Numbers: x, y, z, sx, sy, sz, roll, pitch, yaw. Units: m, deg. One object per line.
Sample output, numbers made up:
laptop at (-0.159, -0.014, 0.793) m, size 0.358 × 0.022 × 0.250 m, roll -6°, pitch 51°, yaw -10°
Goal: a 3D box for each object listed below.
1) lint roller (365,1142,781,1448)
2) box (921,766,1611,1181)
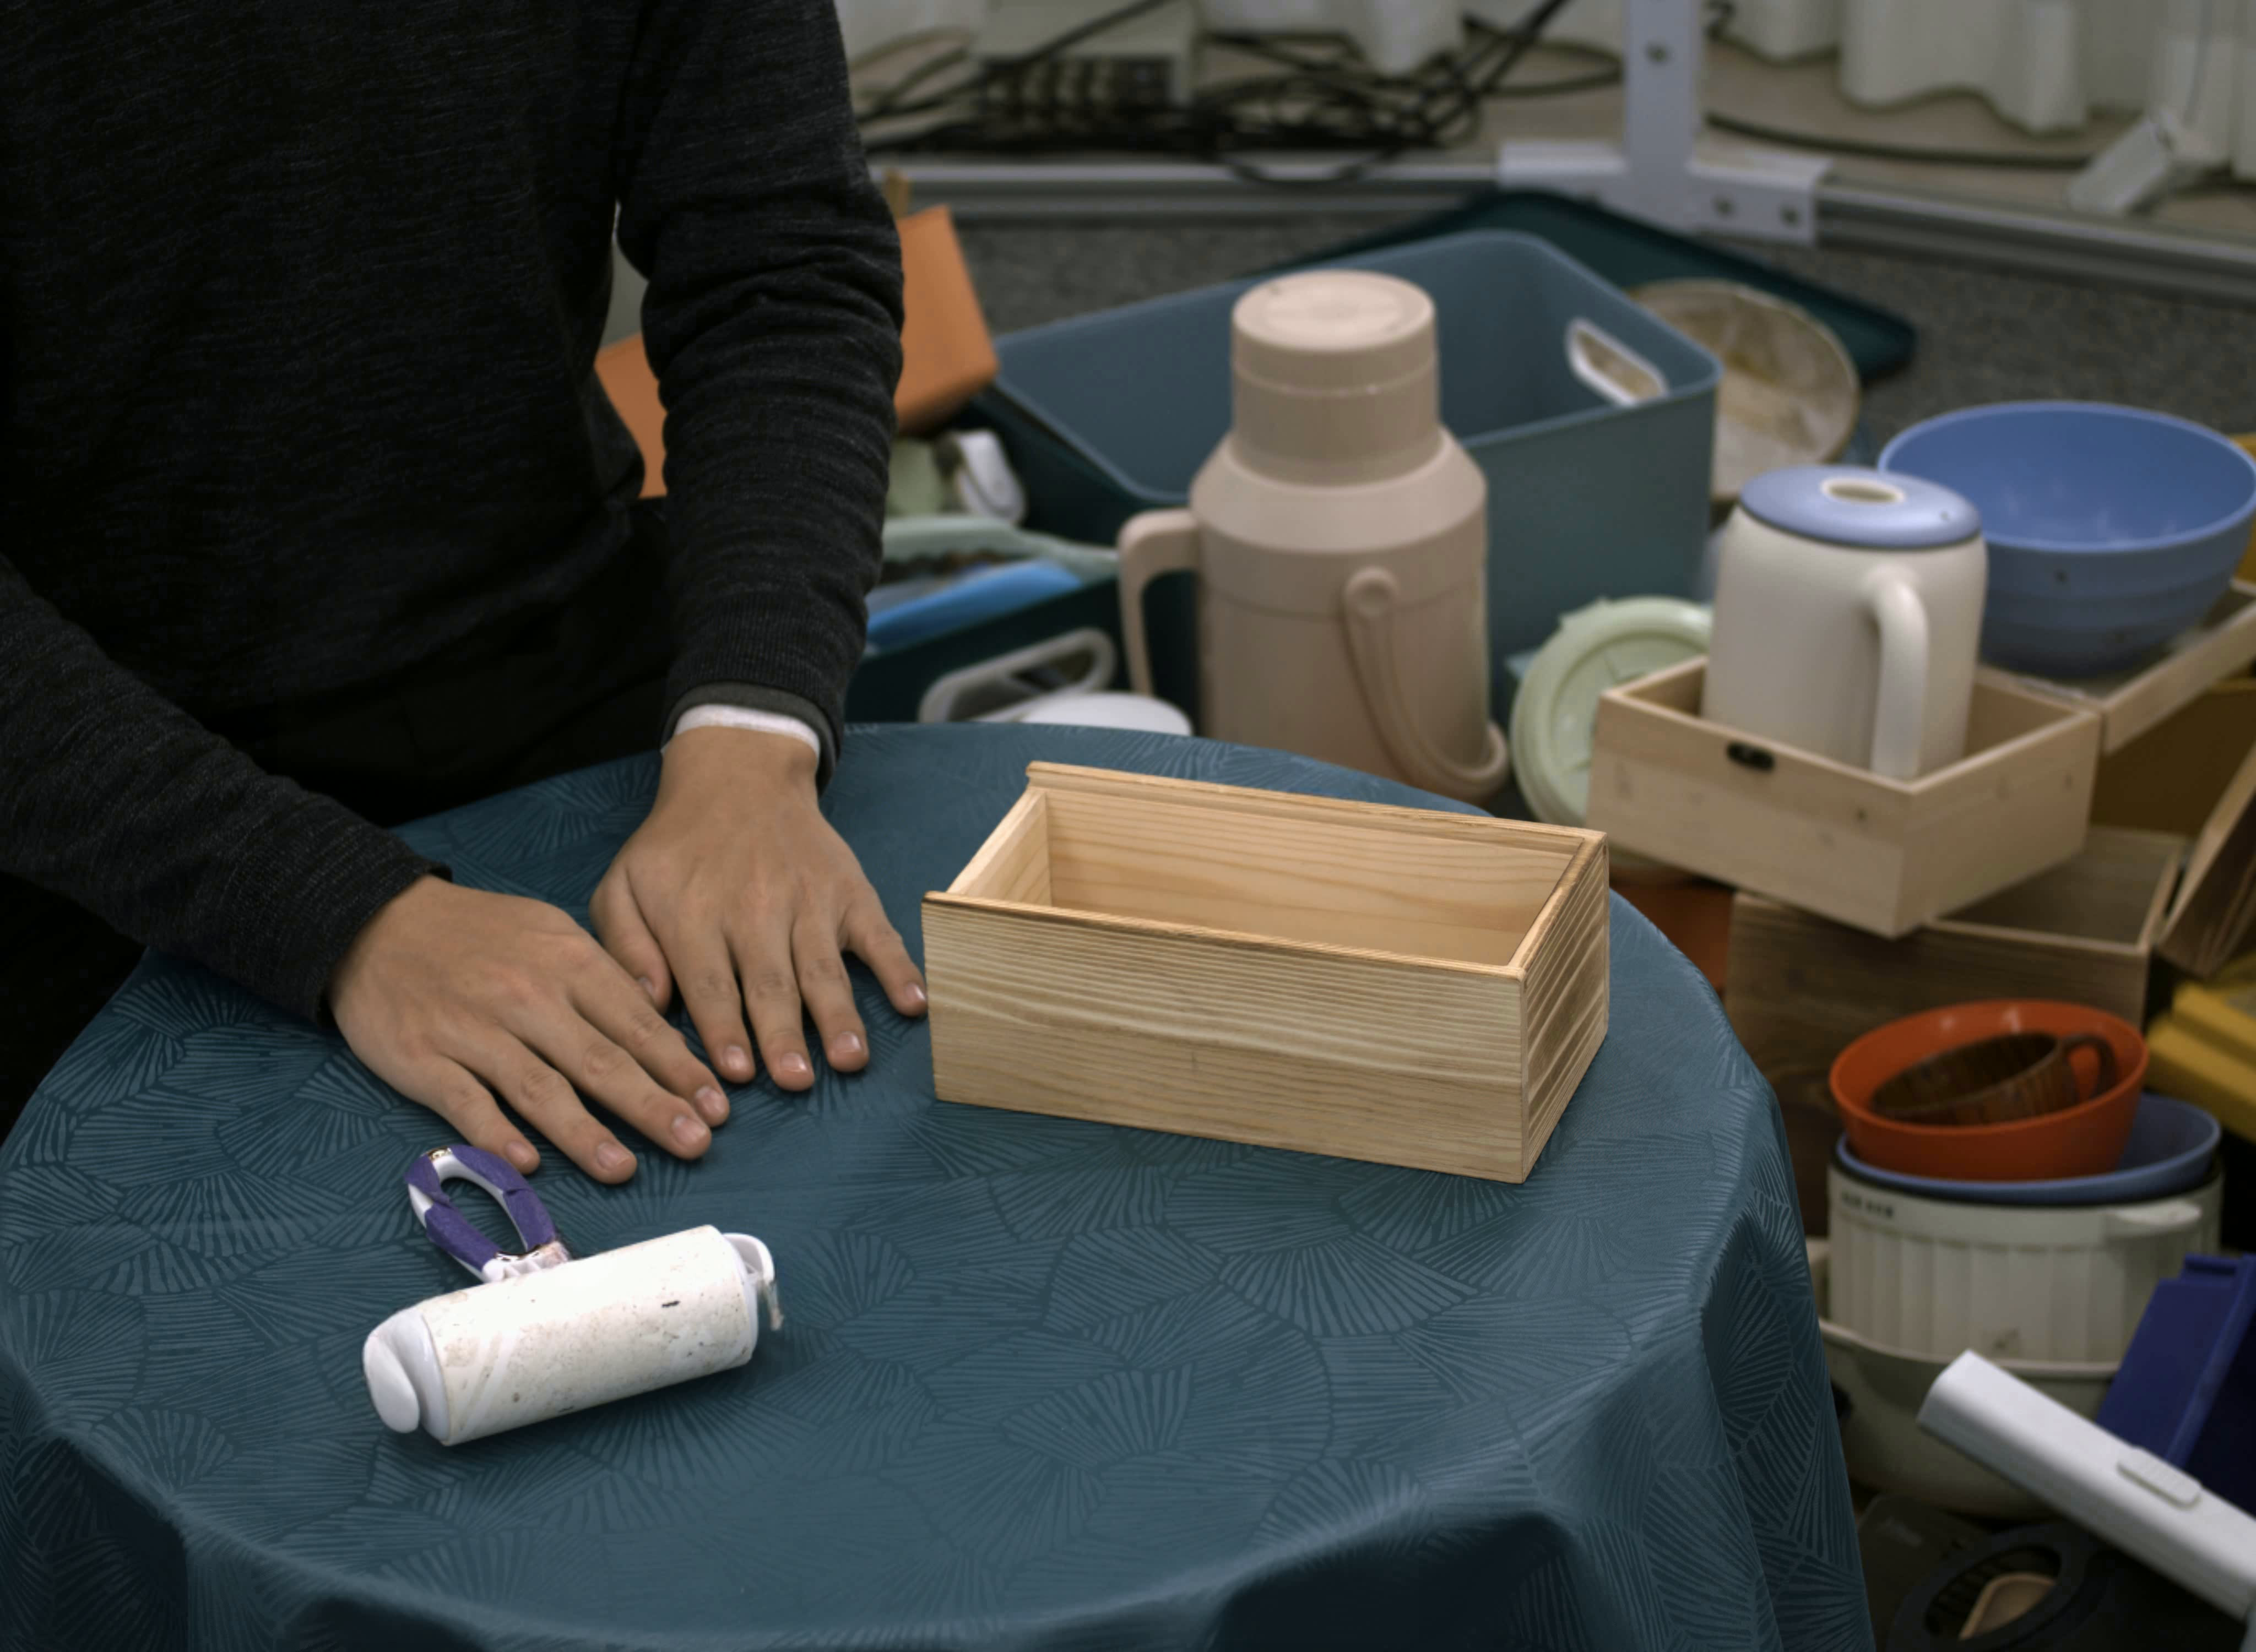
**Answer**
lint roller at (-0.196, 0.132, 1.810) m, size 0.133 × 0.049 × 0.182 m, roll -14°, pitch 30°, yaw -18°
box at (0.048, 0.048, 1.912) m, size 0.210 × 0.079 × 0.109 m, roll 6°, pitch 28°, yaw 19°
